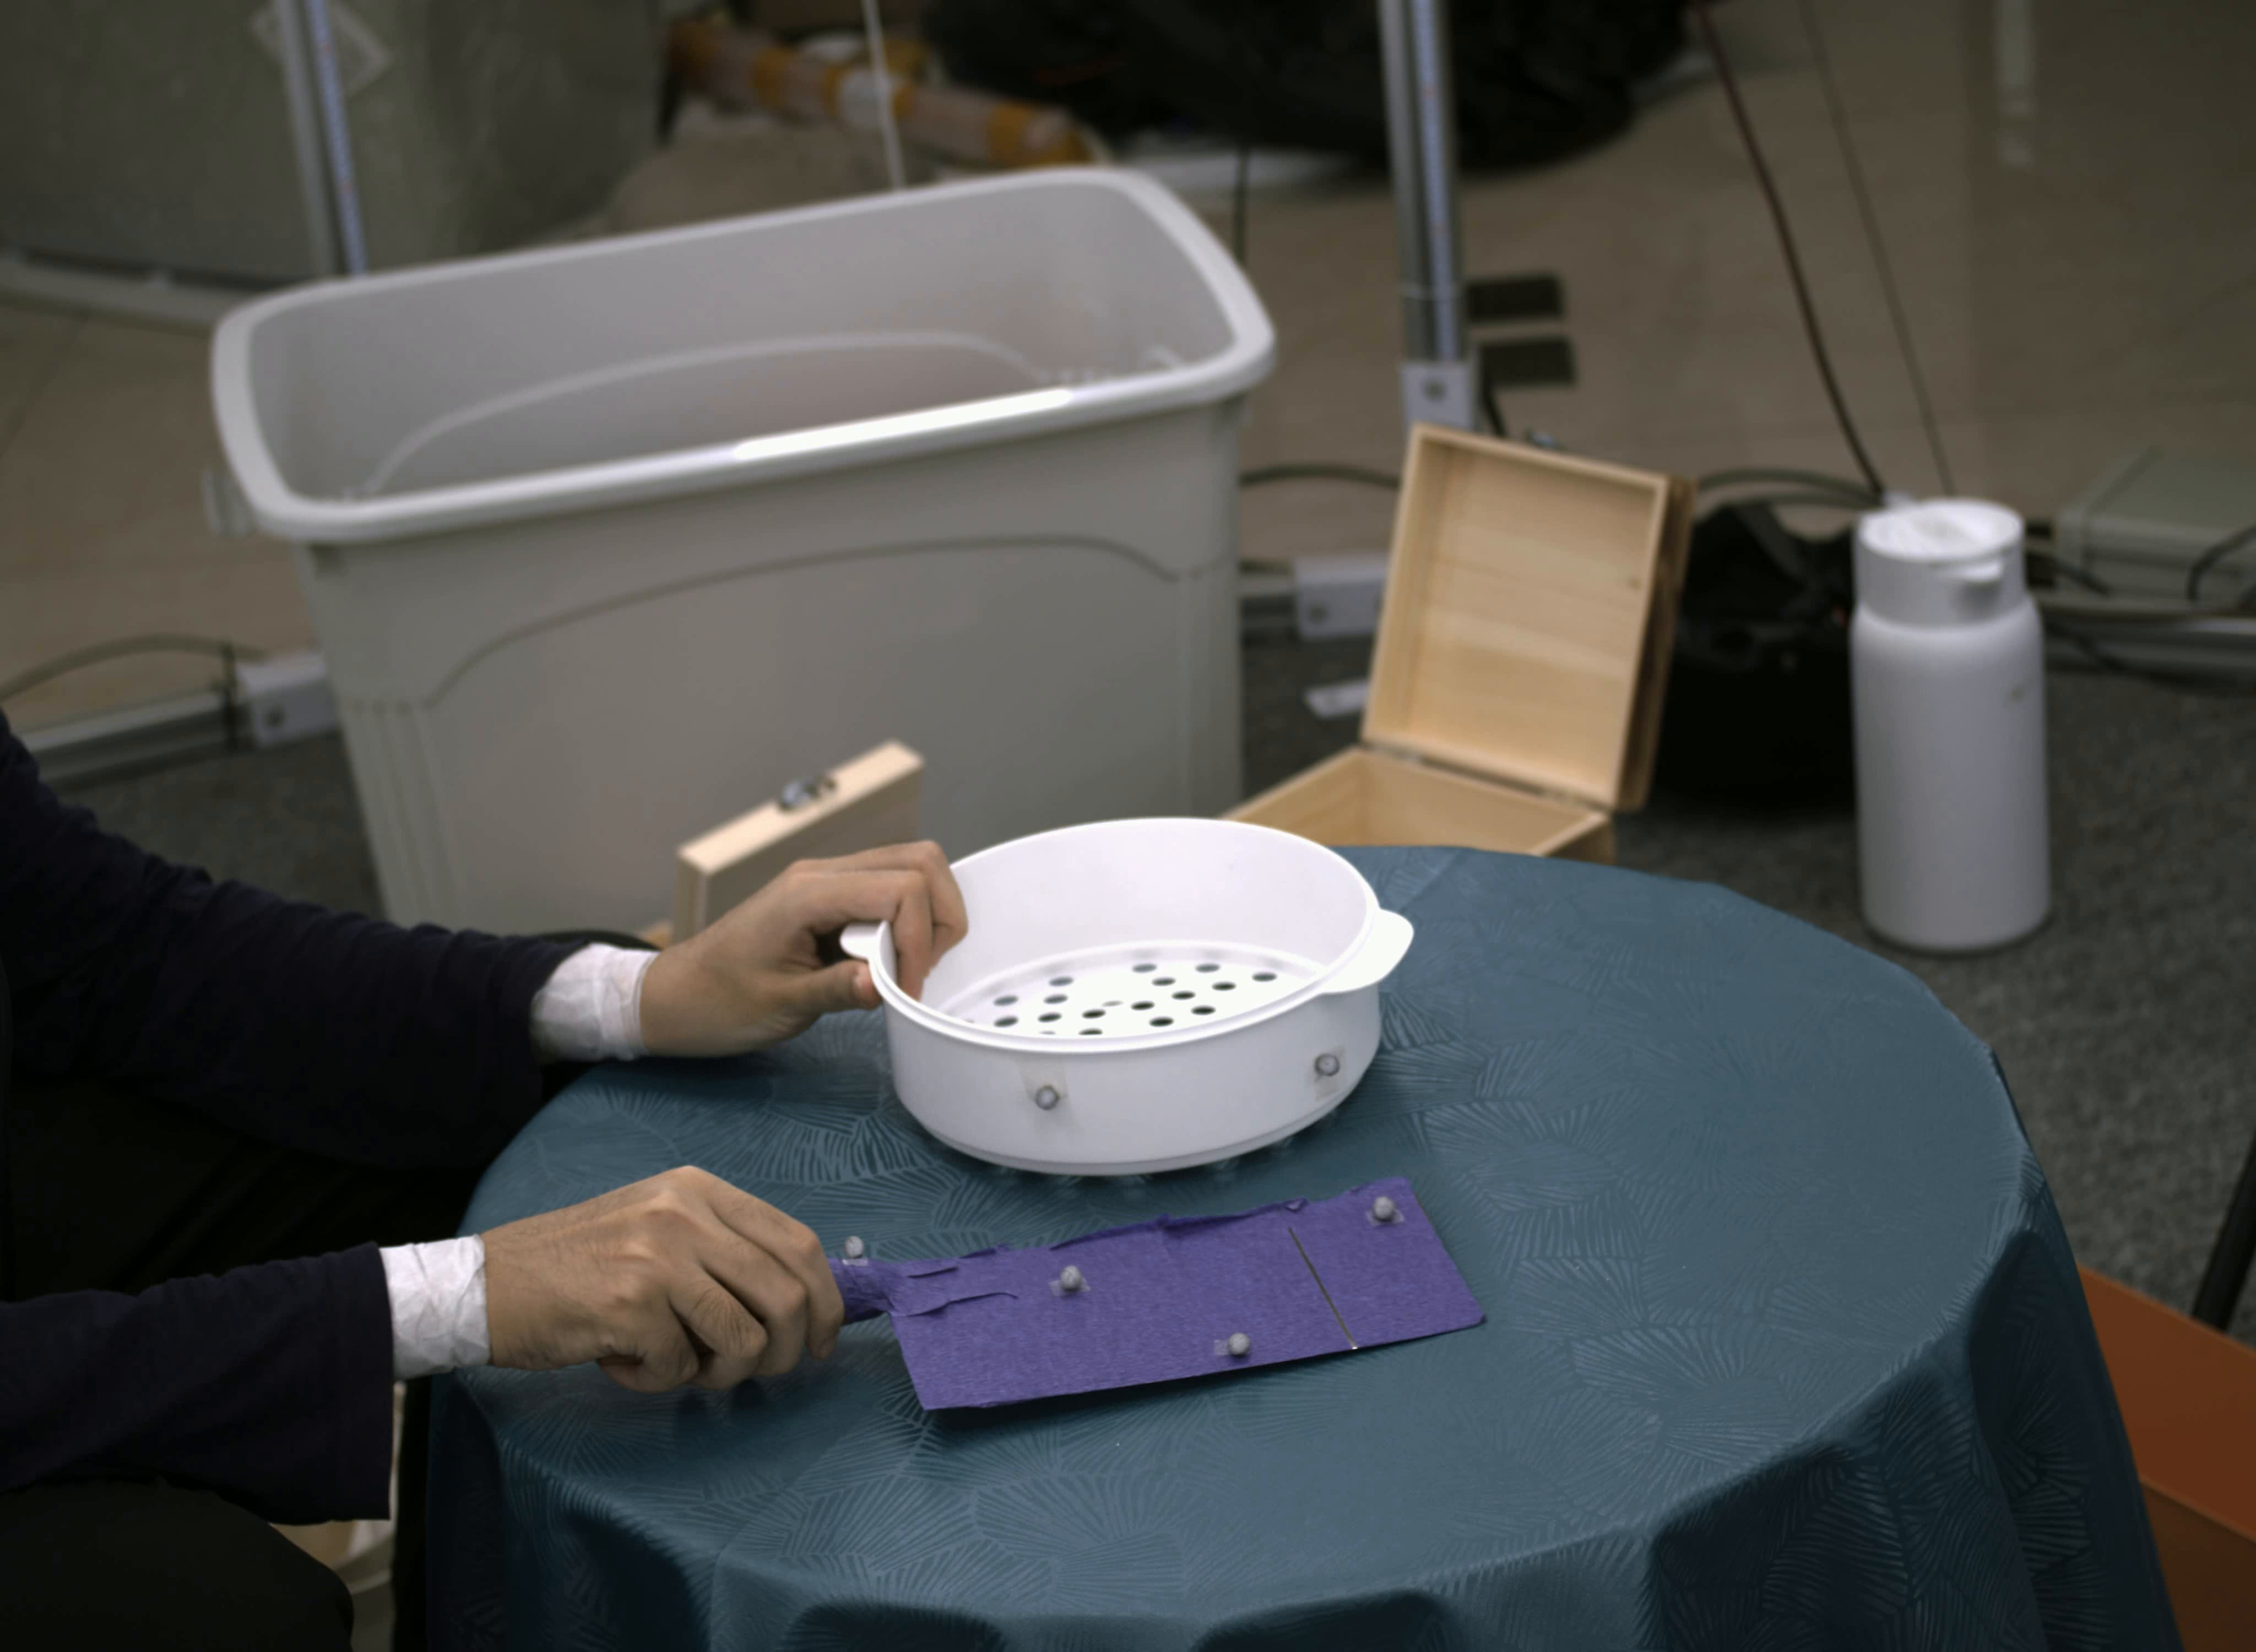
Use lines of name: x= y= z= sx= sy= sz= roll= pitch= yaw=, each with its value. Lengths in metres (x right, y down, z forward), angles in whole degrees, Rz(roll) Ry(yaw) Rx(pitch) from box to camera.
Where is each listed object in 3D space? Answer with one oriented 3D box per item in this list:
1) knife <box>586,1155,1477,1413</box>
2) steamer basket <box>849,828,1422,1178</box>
knife: x=-0.034 y=0.172 z=2.038 sx=0.314 sy=0.033 sz=0.102 roll=-10 pitch=32 yaw=-11
steamer basket: x=0.005 y=0.069 z=2.221 sx=0.230 sy=0.070 sz=0.199 roll=2 pitch=24 yaw=22
